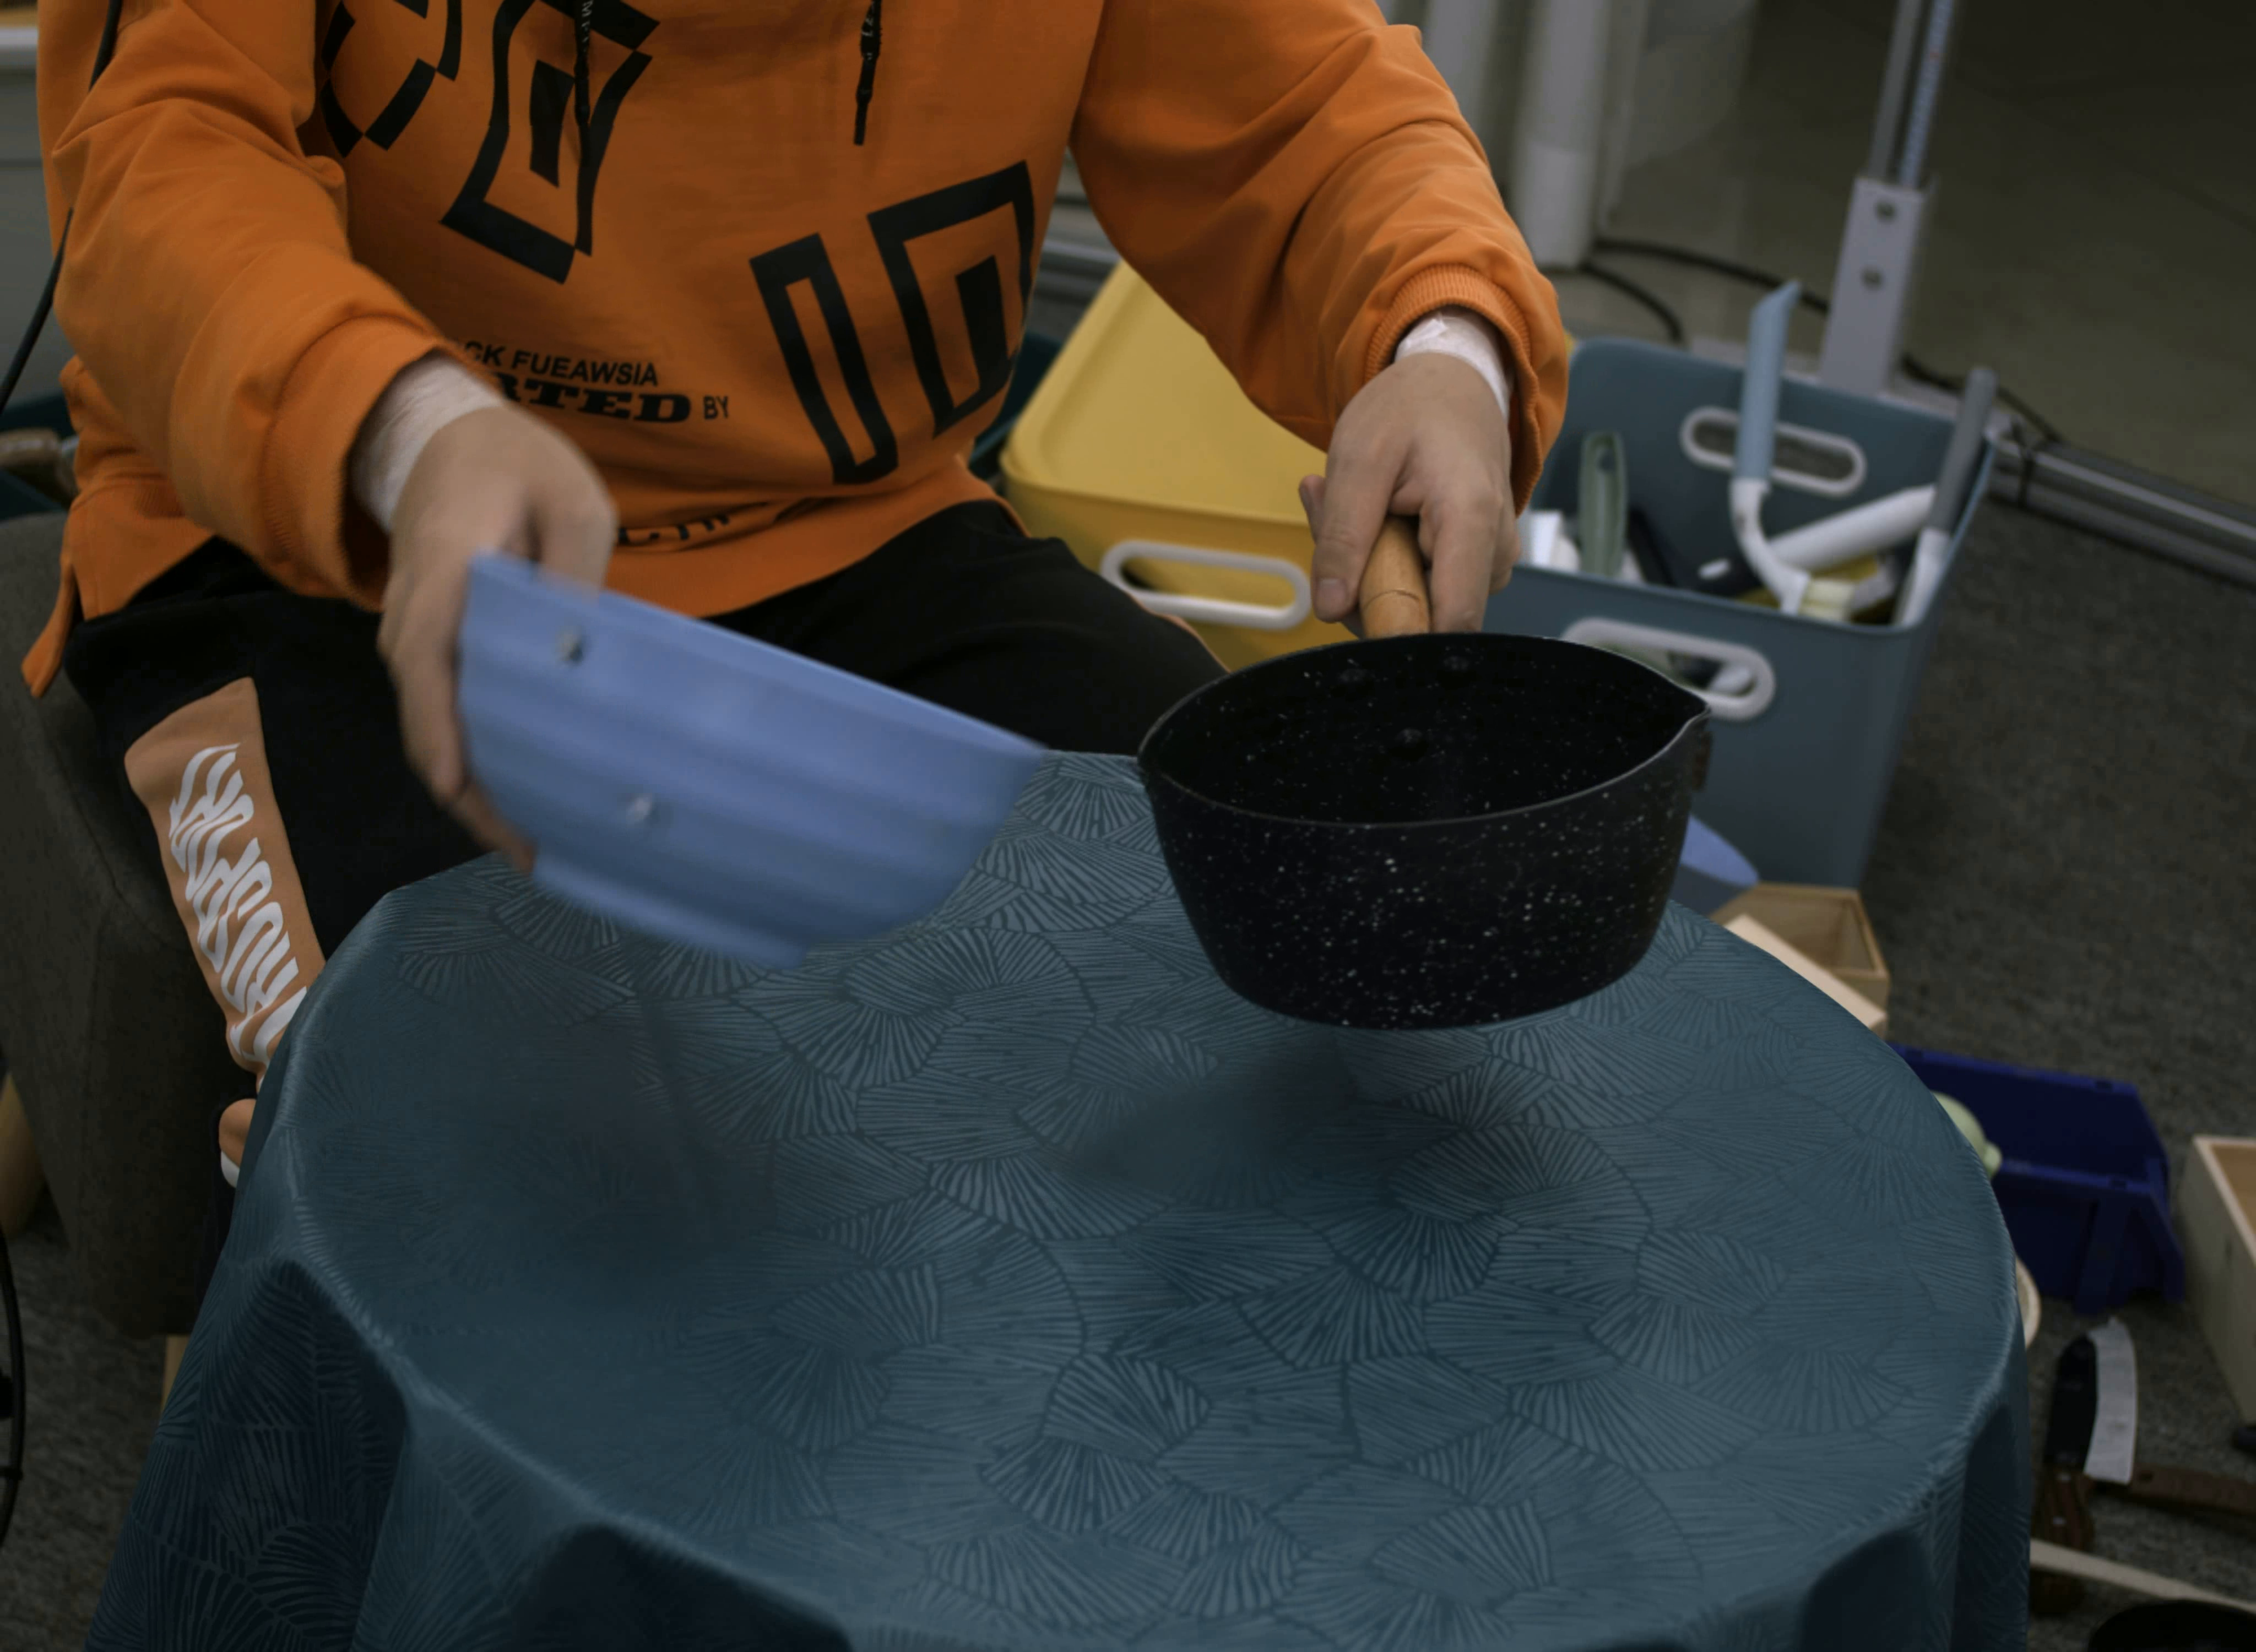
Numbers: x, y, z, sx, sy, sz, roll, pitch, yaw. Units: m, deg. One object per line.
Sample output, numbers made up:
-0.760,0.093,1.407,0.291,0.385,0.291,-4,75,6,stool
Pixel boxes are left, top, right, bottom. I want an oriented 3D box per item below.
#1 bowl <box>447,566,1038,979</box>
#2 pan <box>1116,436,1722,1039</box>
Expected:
-0.136,-0.010,1.714,0.196,0.095,0.197,18,5,-2,bowl
0.099,-0.036,1.893,0.207,0.108,0.344,-6,22,1,pan
